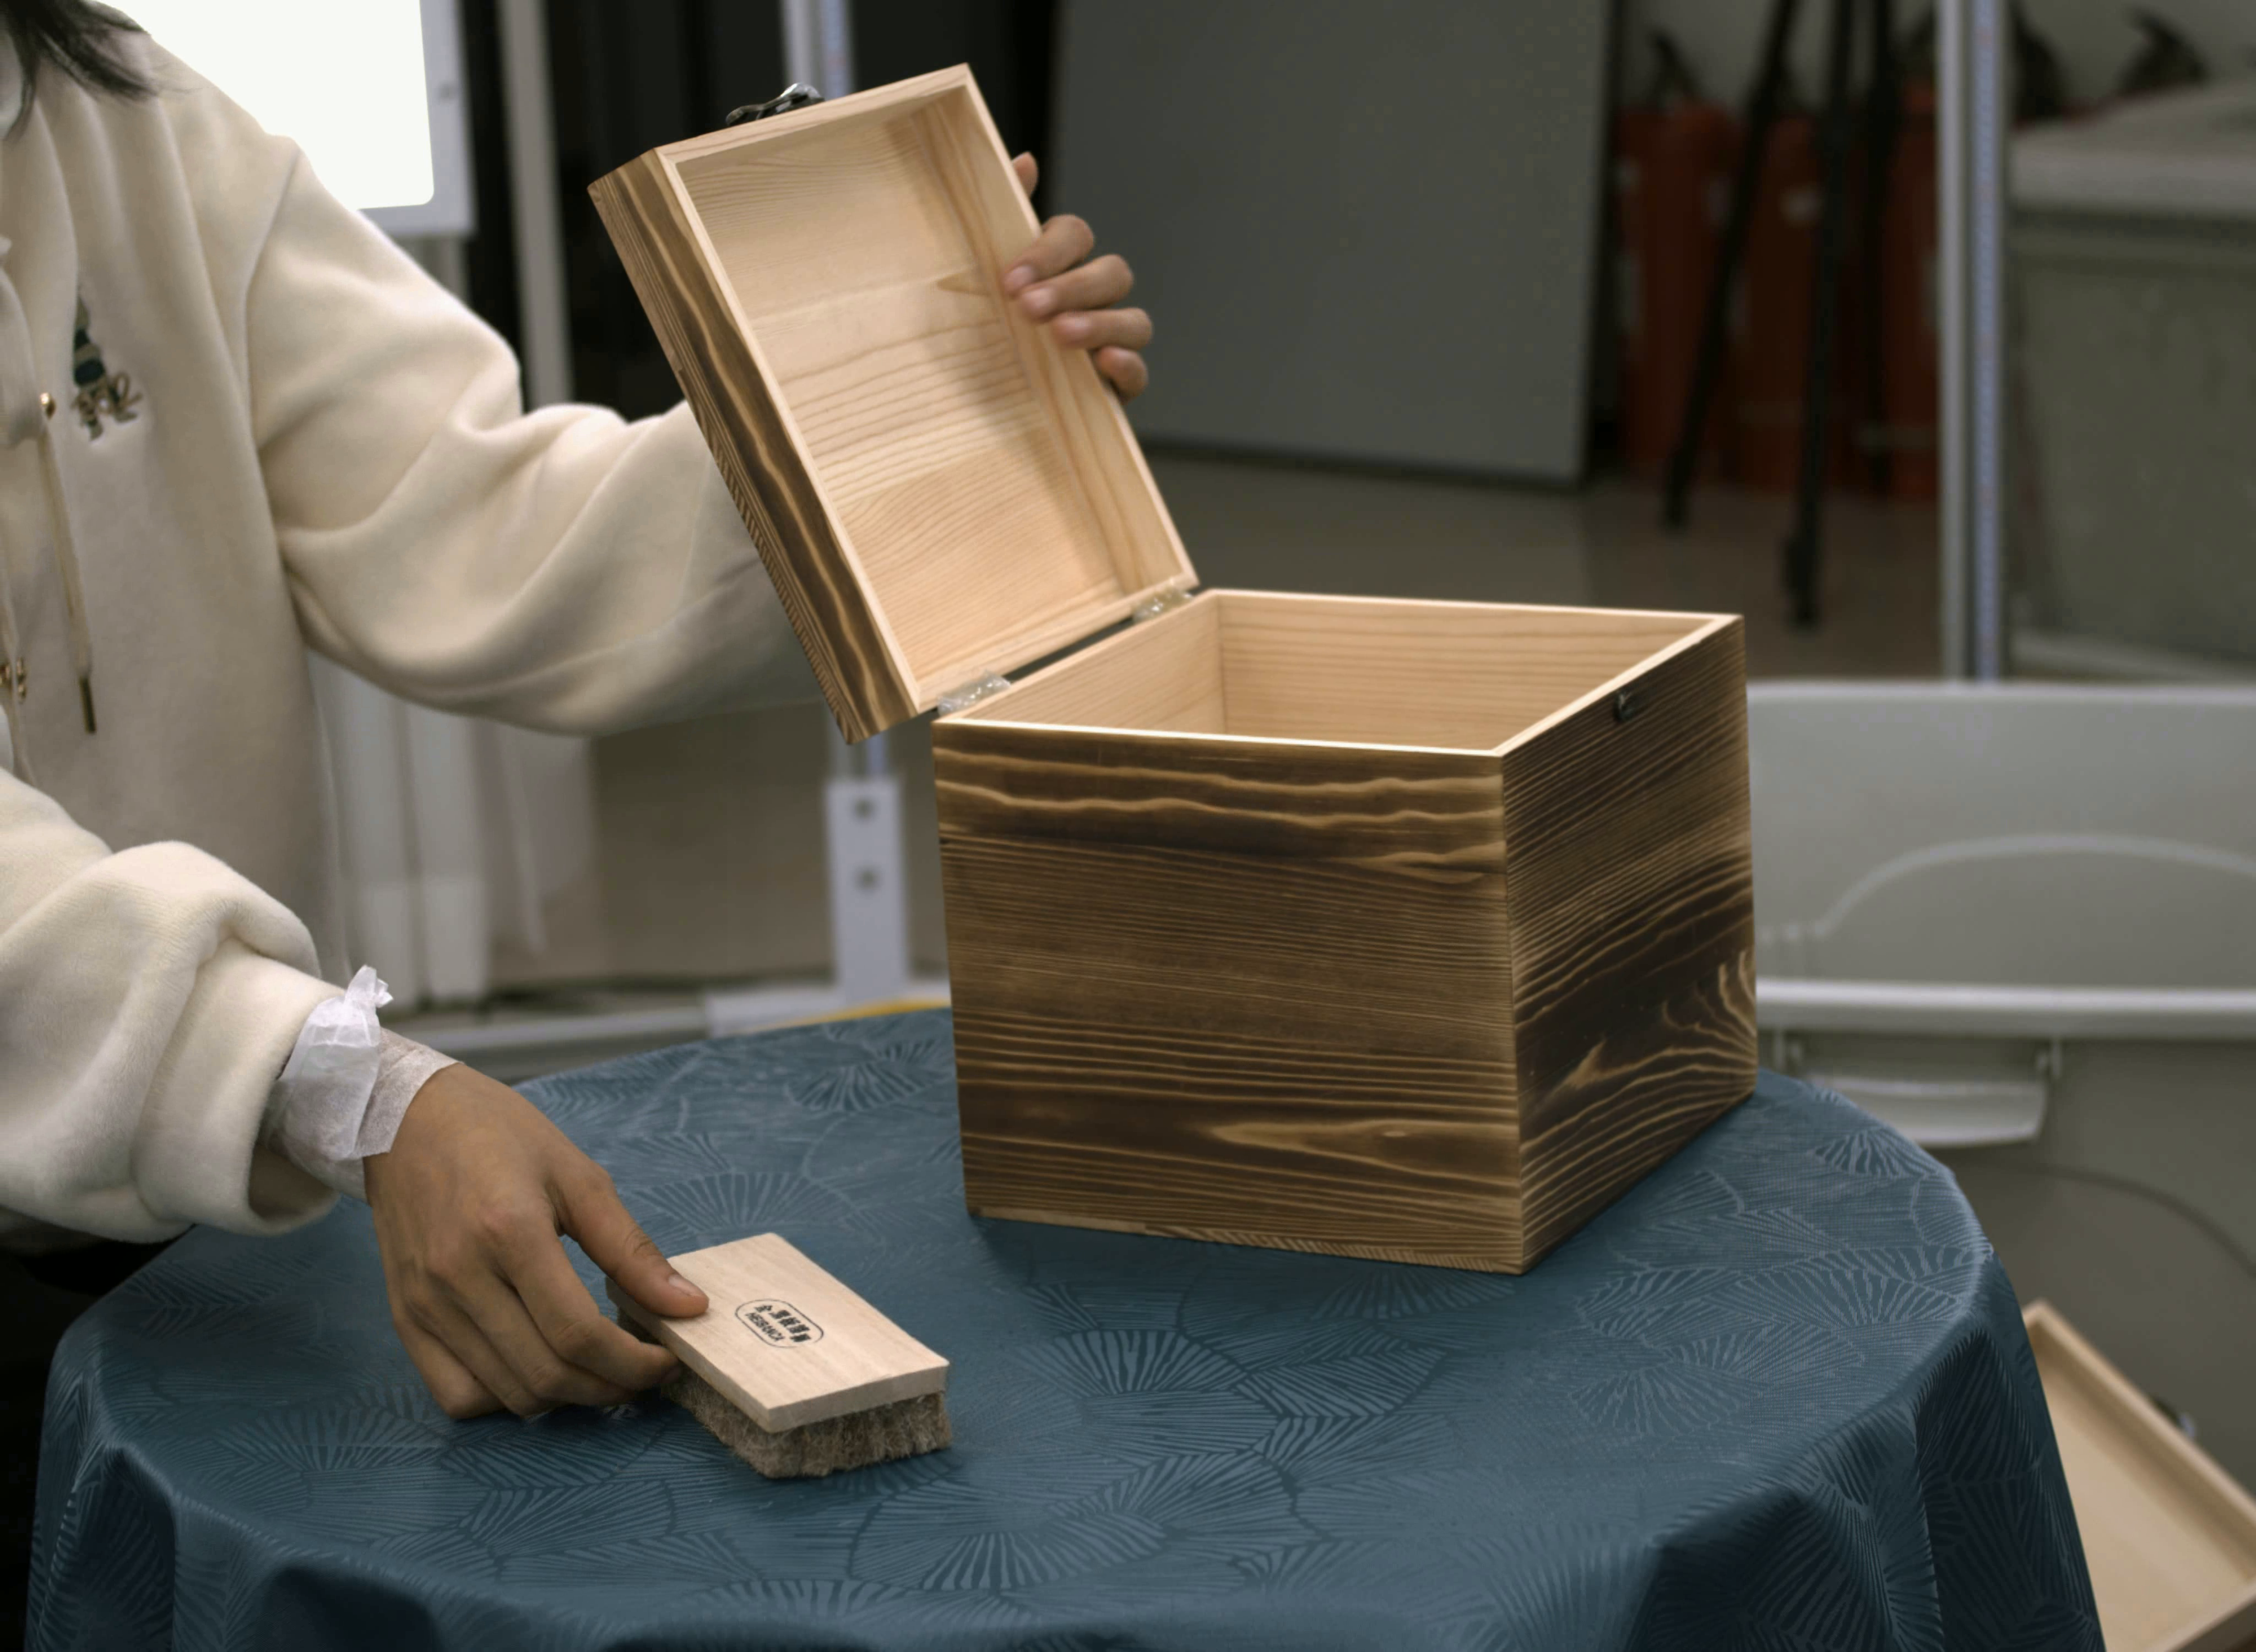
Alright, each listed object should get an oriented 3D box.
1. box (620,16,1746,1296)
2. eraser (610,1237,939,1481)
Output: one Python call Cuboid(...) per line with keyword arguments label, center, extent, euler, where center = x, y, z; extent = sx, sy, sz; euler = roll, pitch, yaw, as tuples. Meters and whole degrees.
Cuboid(label="box", center=(0.023, -0.070, 1.771), extent=(0.323, 0.379, 0.206), euler=(4, 16, 28))
Cuboid(label="eraser", center=(-0.105, 0.158, 1.593), extent=(0.056, 0.029, 0.140), euler=(-12, 15, -21))
